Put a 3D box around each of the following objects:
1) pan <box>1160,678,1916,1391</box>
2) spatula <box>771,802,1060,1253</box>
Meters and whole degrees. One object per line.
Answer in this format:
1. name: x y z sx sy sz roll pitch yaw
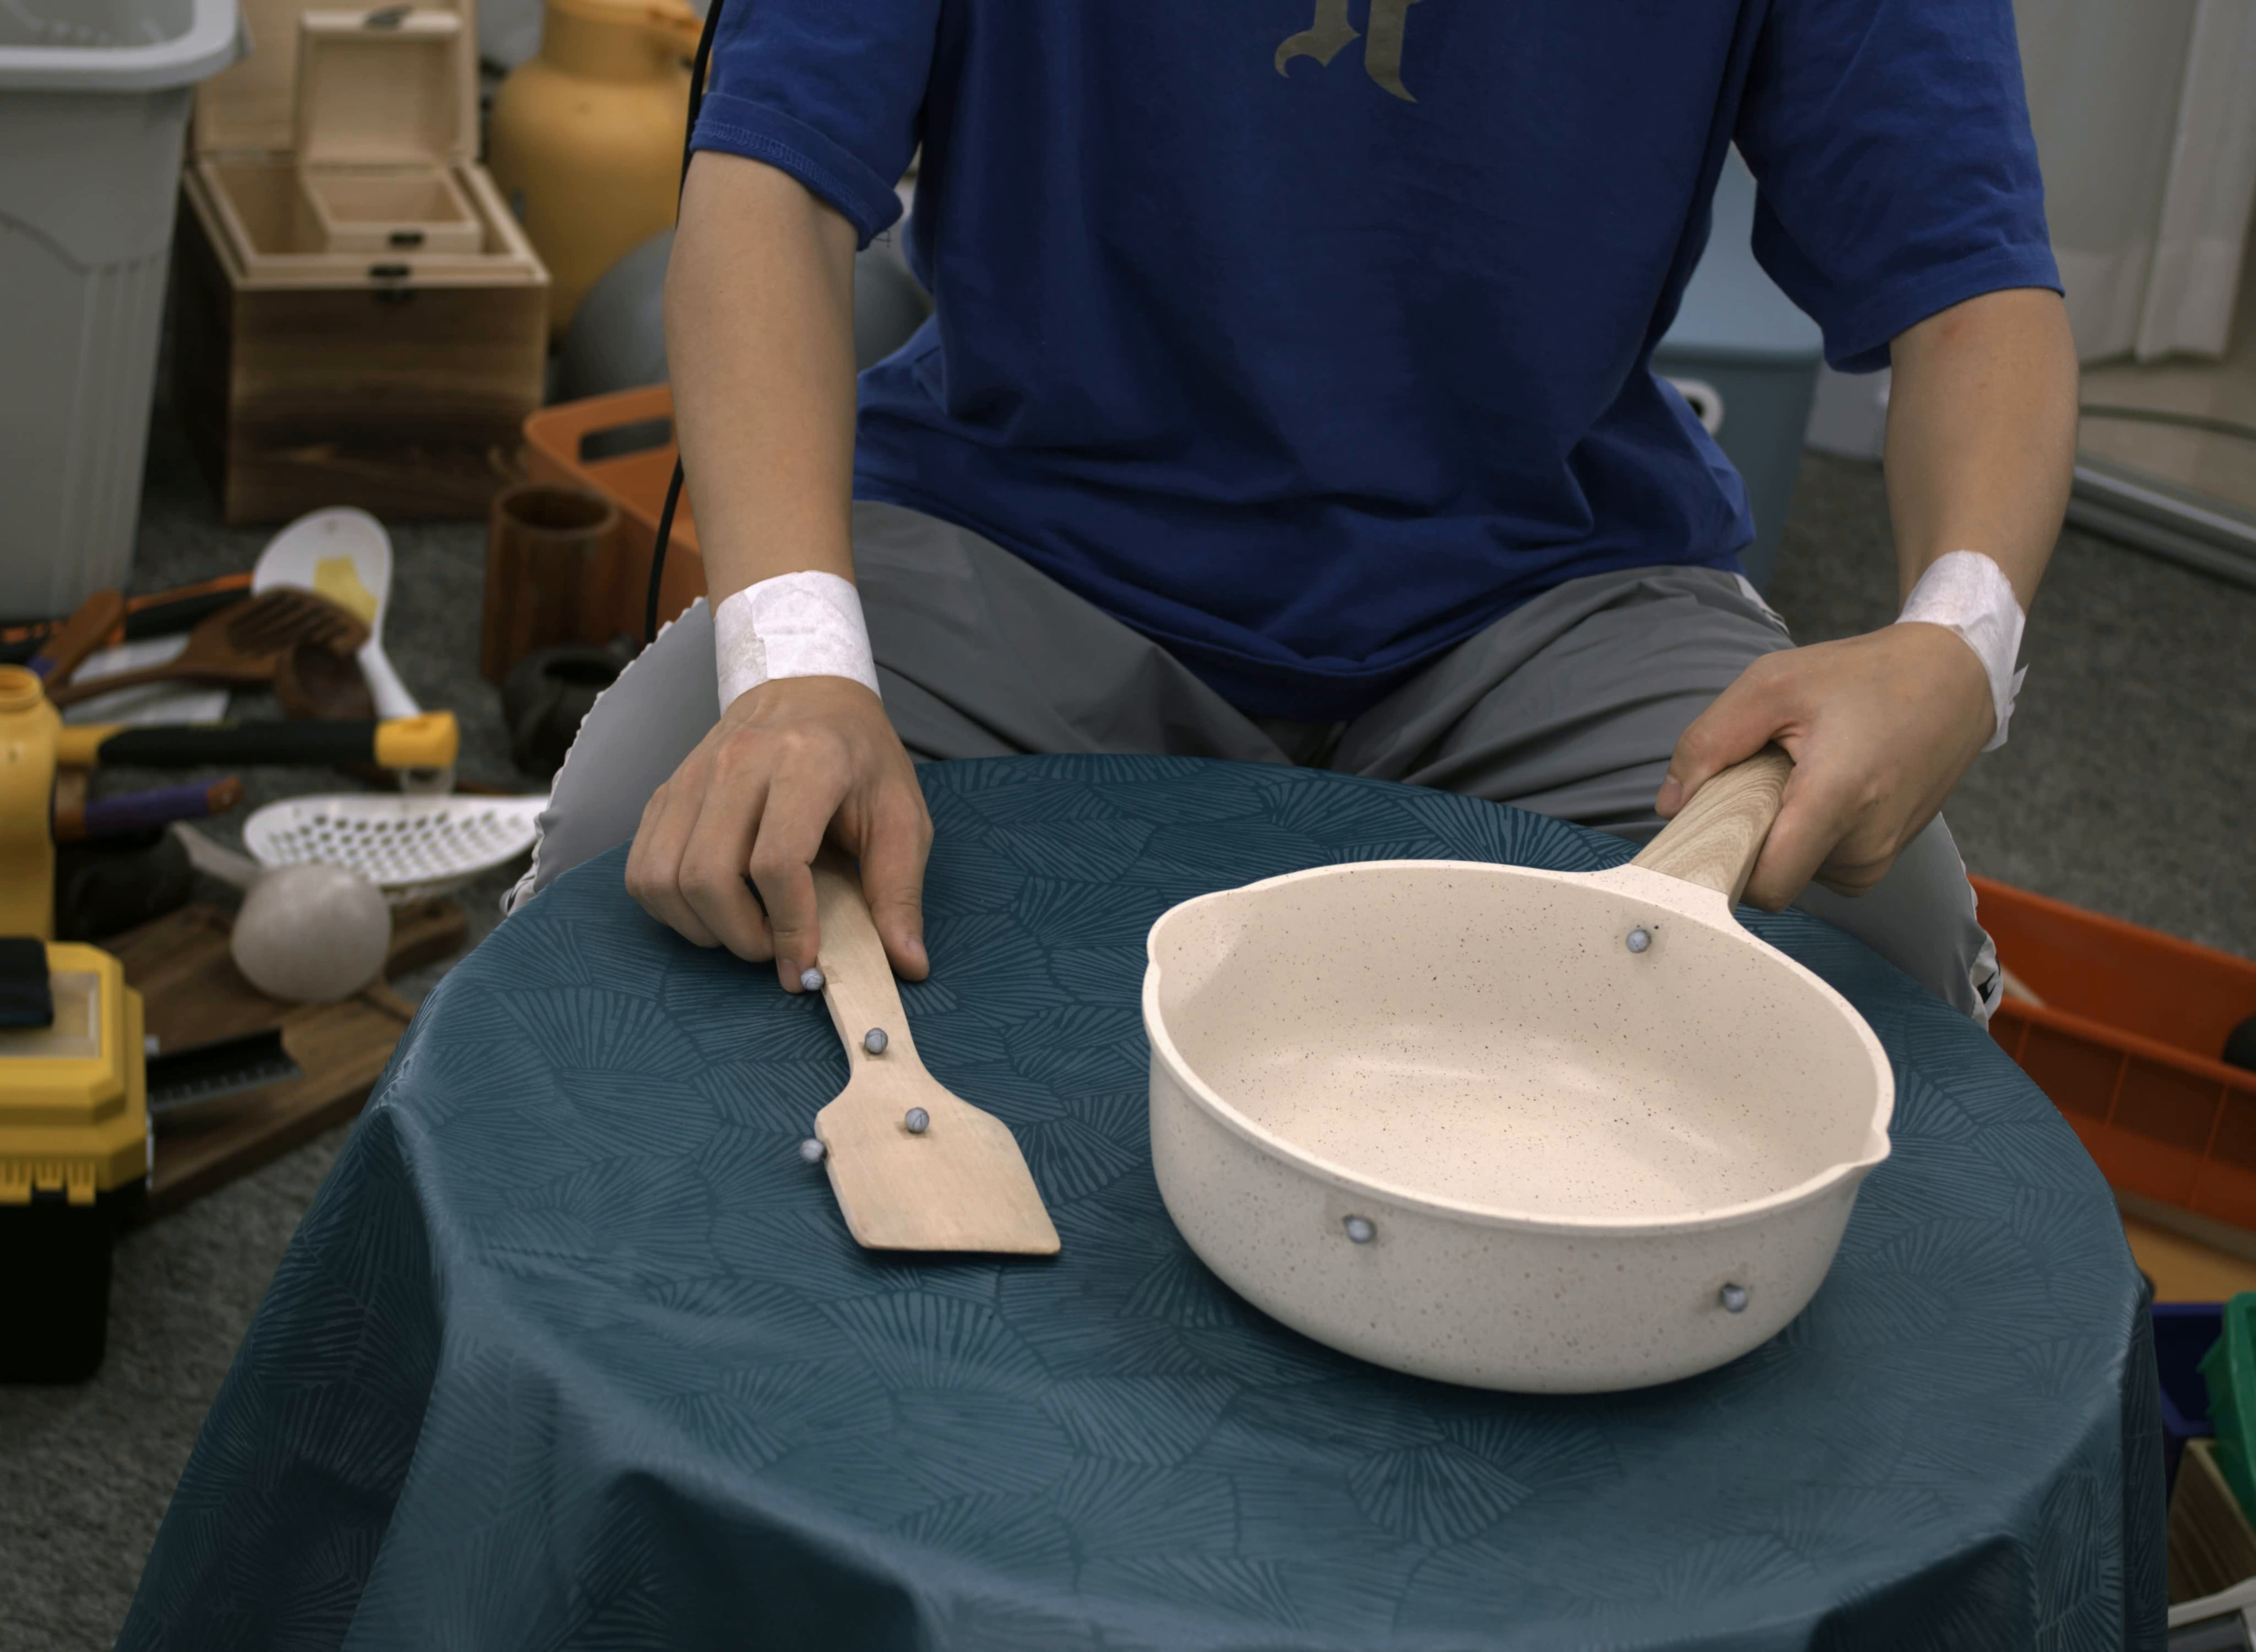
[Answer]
1. pan: 0.171 0.066 1.847 0.264 0.102 0.434 16 26 21
2. spatula: -0.089 0.067 1.872 0.072 0.010 0.295 3 29 -17
